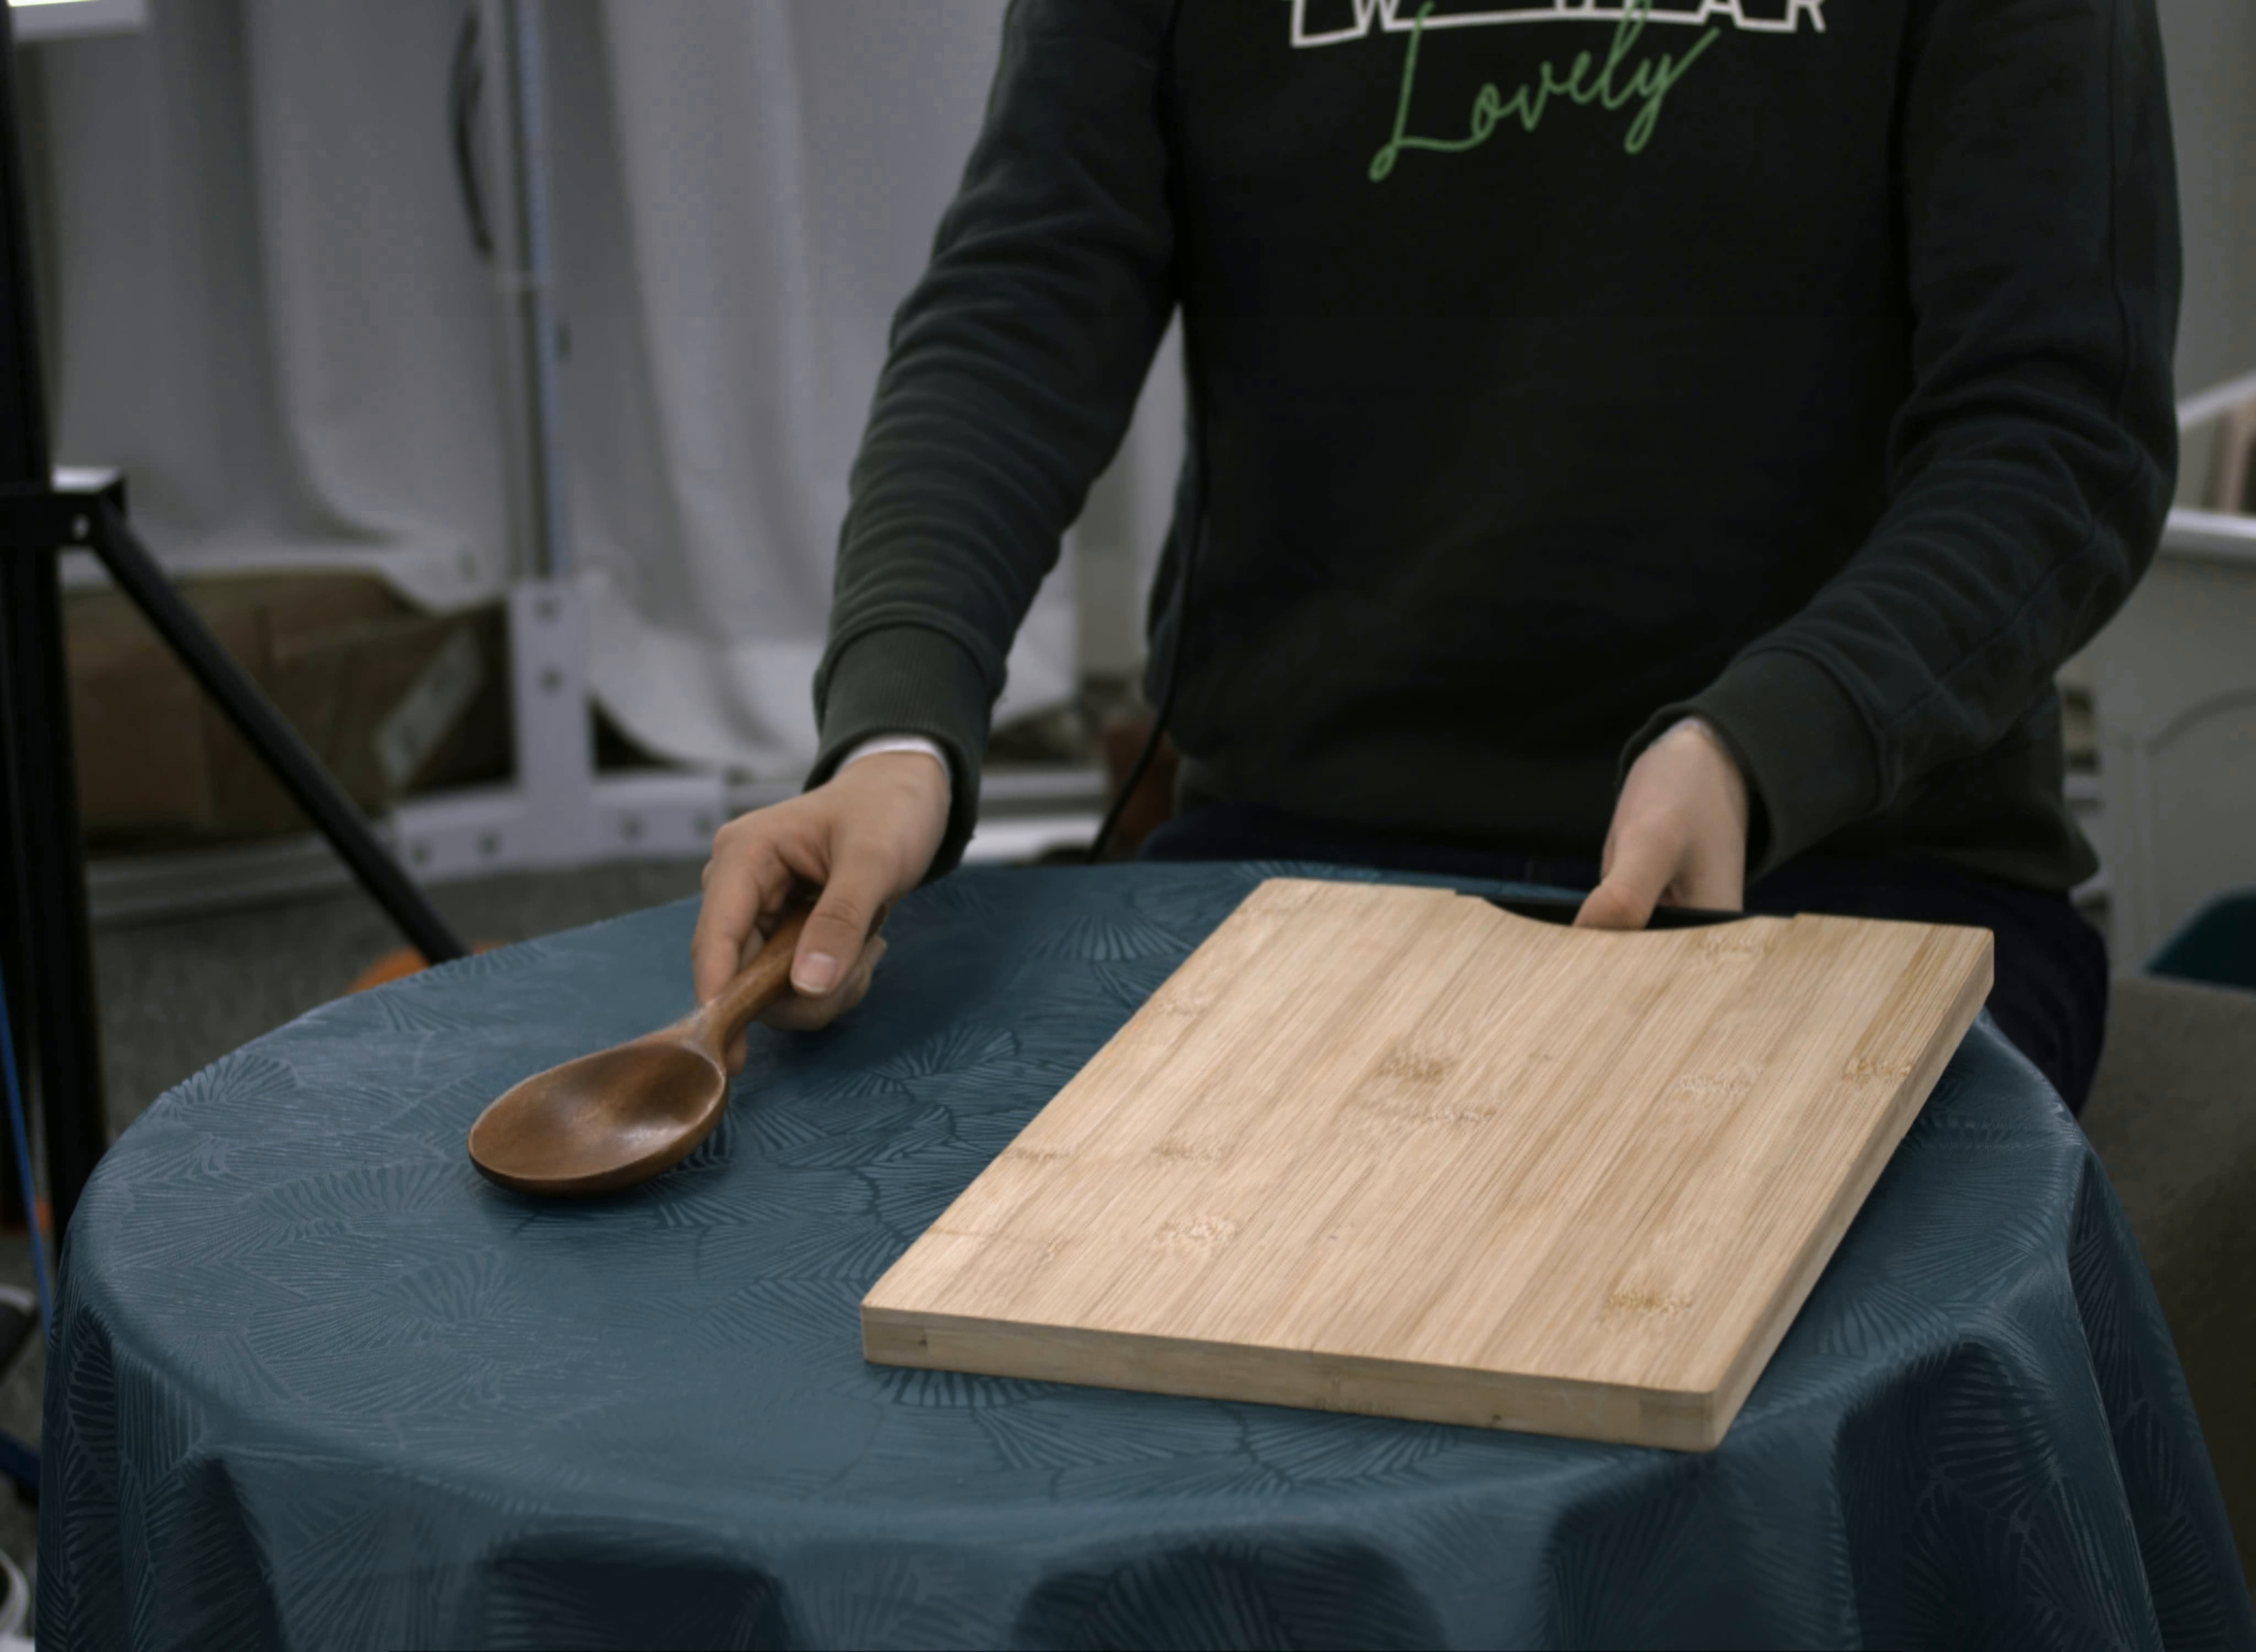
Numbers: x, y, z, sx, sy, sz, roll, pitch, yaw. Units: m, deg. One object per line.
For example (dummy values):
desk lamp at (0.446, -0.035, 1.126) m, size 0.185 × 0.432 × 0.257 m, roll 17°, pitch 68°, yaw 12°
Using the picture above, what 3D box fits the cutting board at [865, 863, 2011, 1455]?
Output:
cutting board at (0.101, 0.087, 1.540) m, size 0.254 × 0.023 × 0.345 m, roll 4°, pitch 21°, yaw 20°

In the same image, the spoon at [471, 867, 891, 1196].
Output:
spoon at (-0.130, 0.065, 1.652) m, size 0.077 × 0.017 × 0.213 m, roll 1°, pitch 26°, yaw 28°
